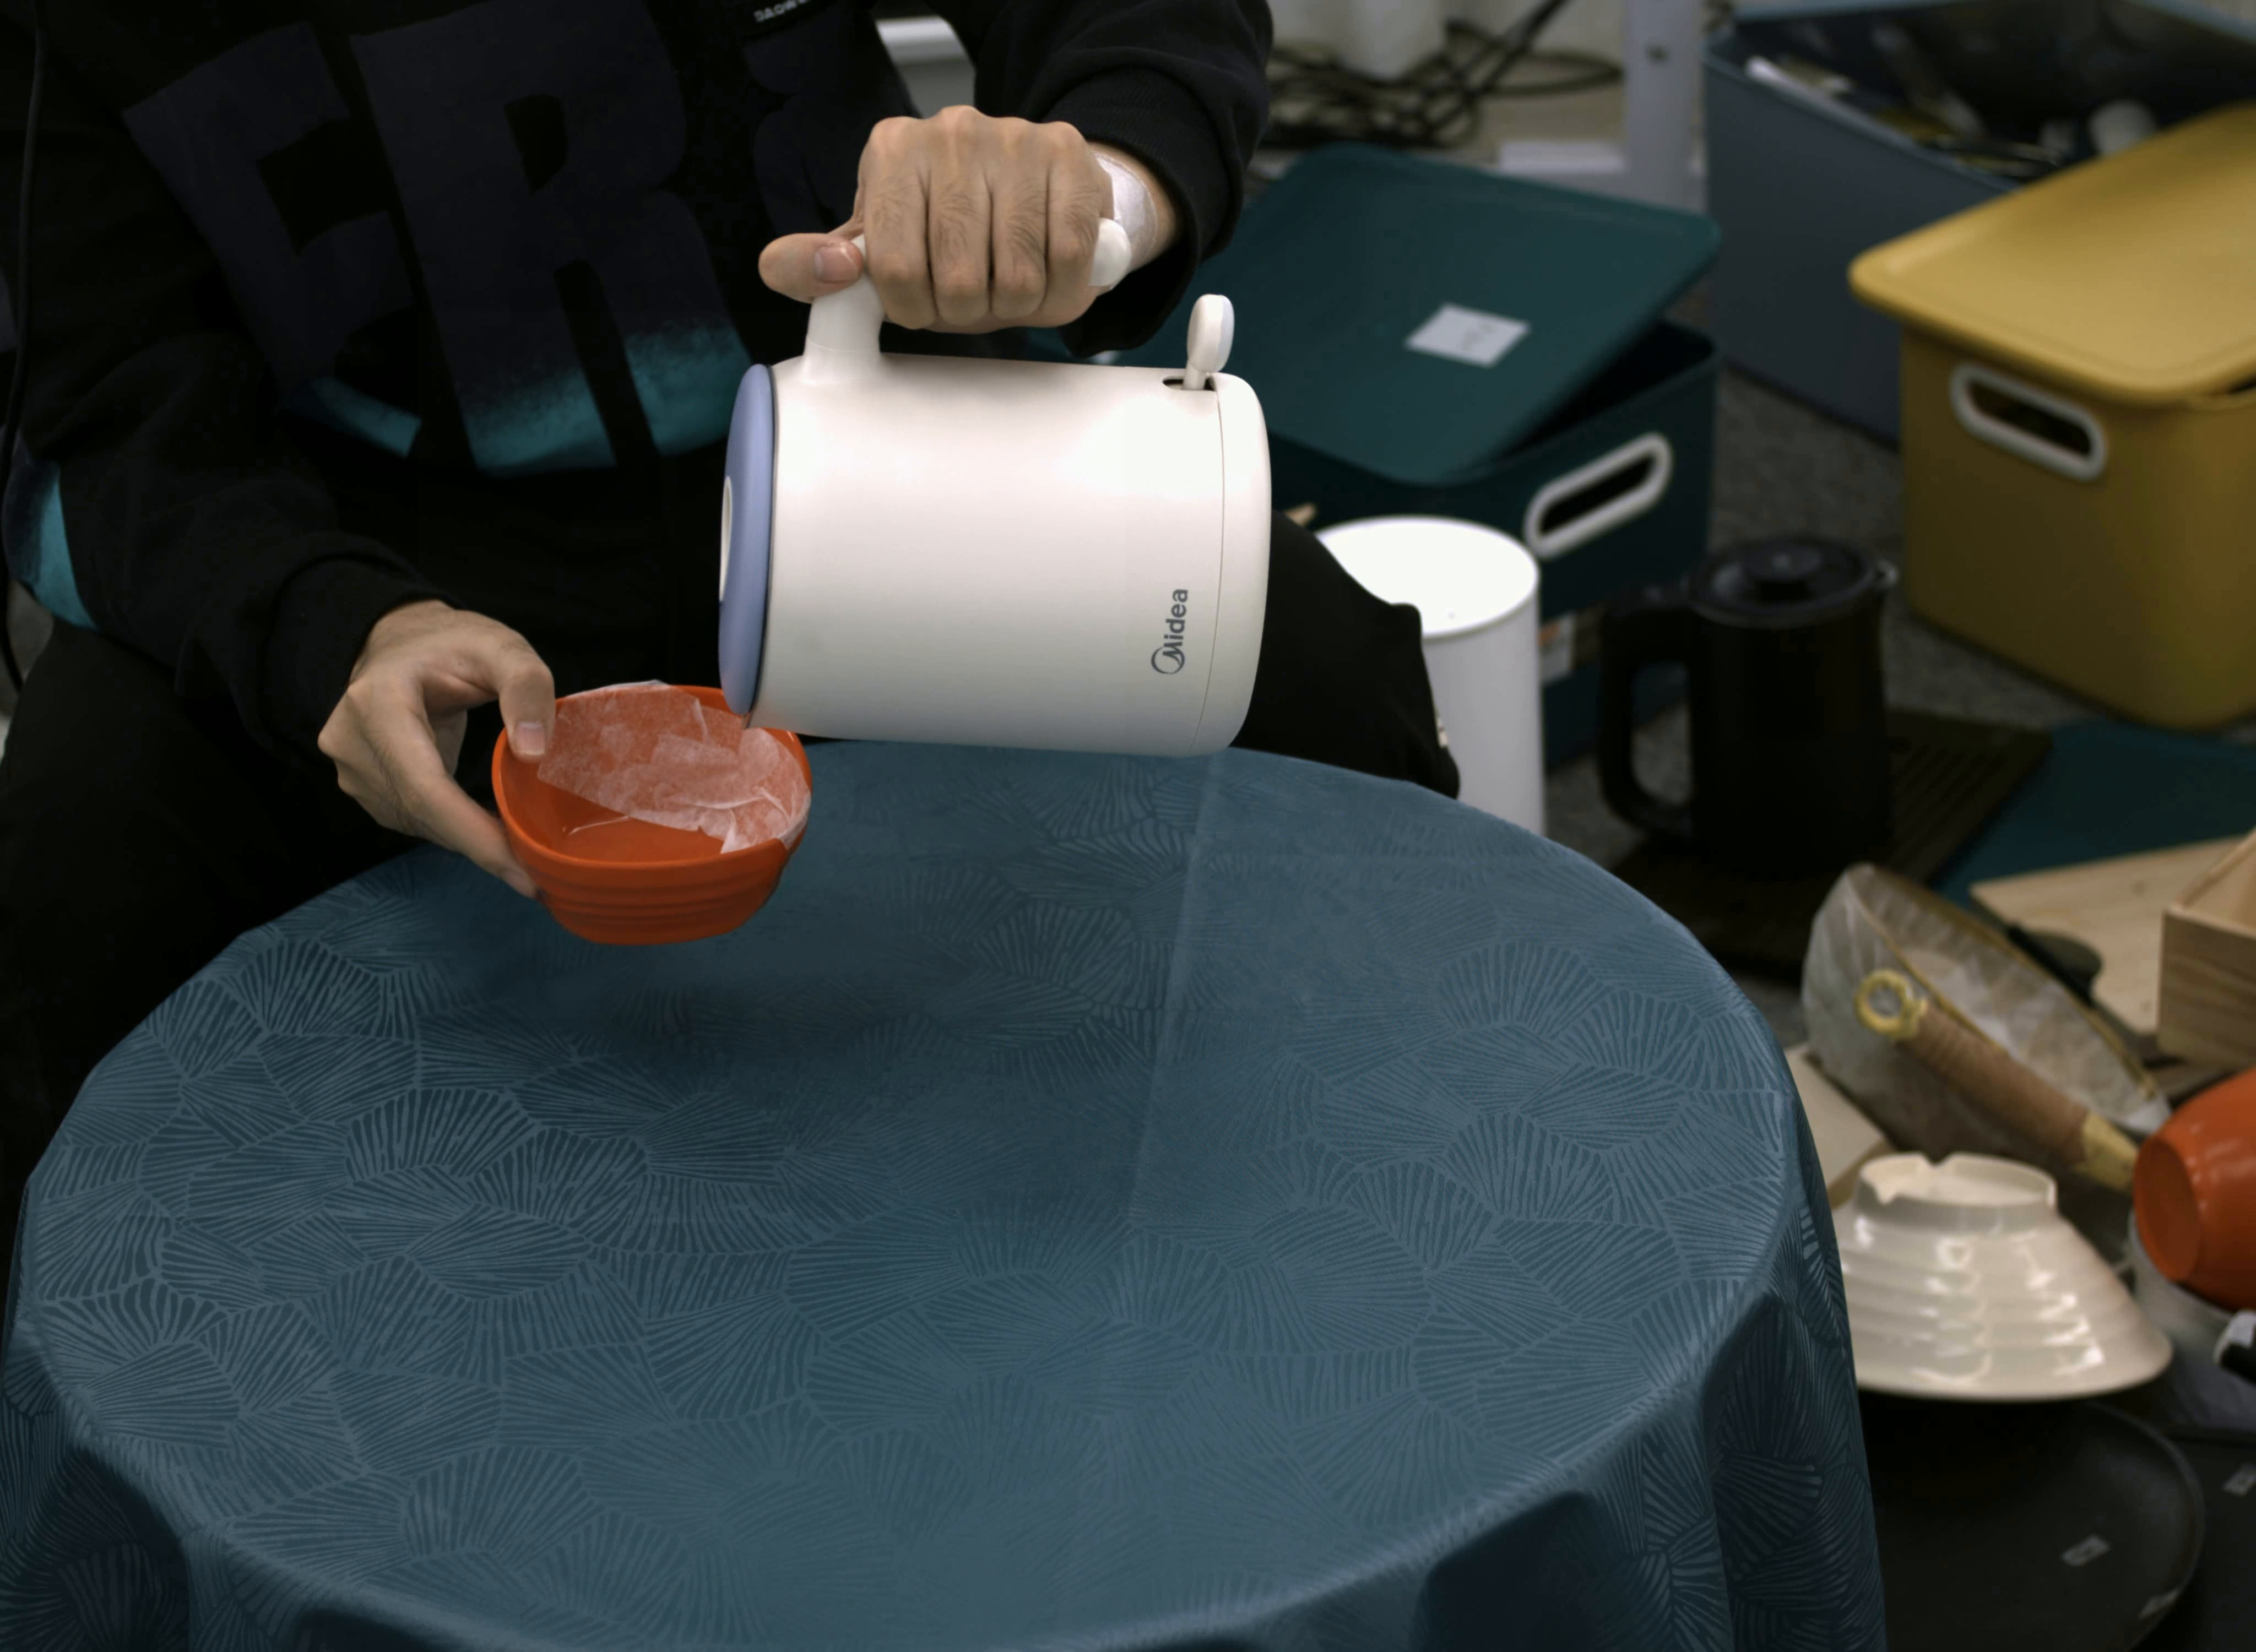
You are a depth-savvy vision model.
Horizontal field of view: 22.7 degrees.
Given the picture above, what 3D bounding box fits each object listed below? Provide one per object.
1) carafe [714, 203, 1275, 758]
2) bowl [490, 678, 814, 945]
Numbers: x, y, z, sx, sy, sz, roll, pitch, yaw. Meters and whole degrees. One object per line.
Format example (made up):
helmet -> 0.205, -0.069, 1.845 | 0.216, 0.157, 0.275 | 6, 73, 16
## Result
carafe -> -0.043, -0.116, 1.886 | 0.182, 0.189, 0.133 | 5, 20, -10
bowl -> -0.164, 0.001, 1.945 | 0.118, 0.050, 0.121 | 2, 36, -1
